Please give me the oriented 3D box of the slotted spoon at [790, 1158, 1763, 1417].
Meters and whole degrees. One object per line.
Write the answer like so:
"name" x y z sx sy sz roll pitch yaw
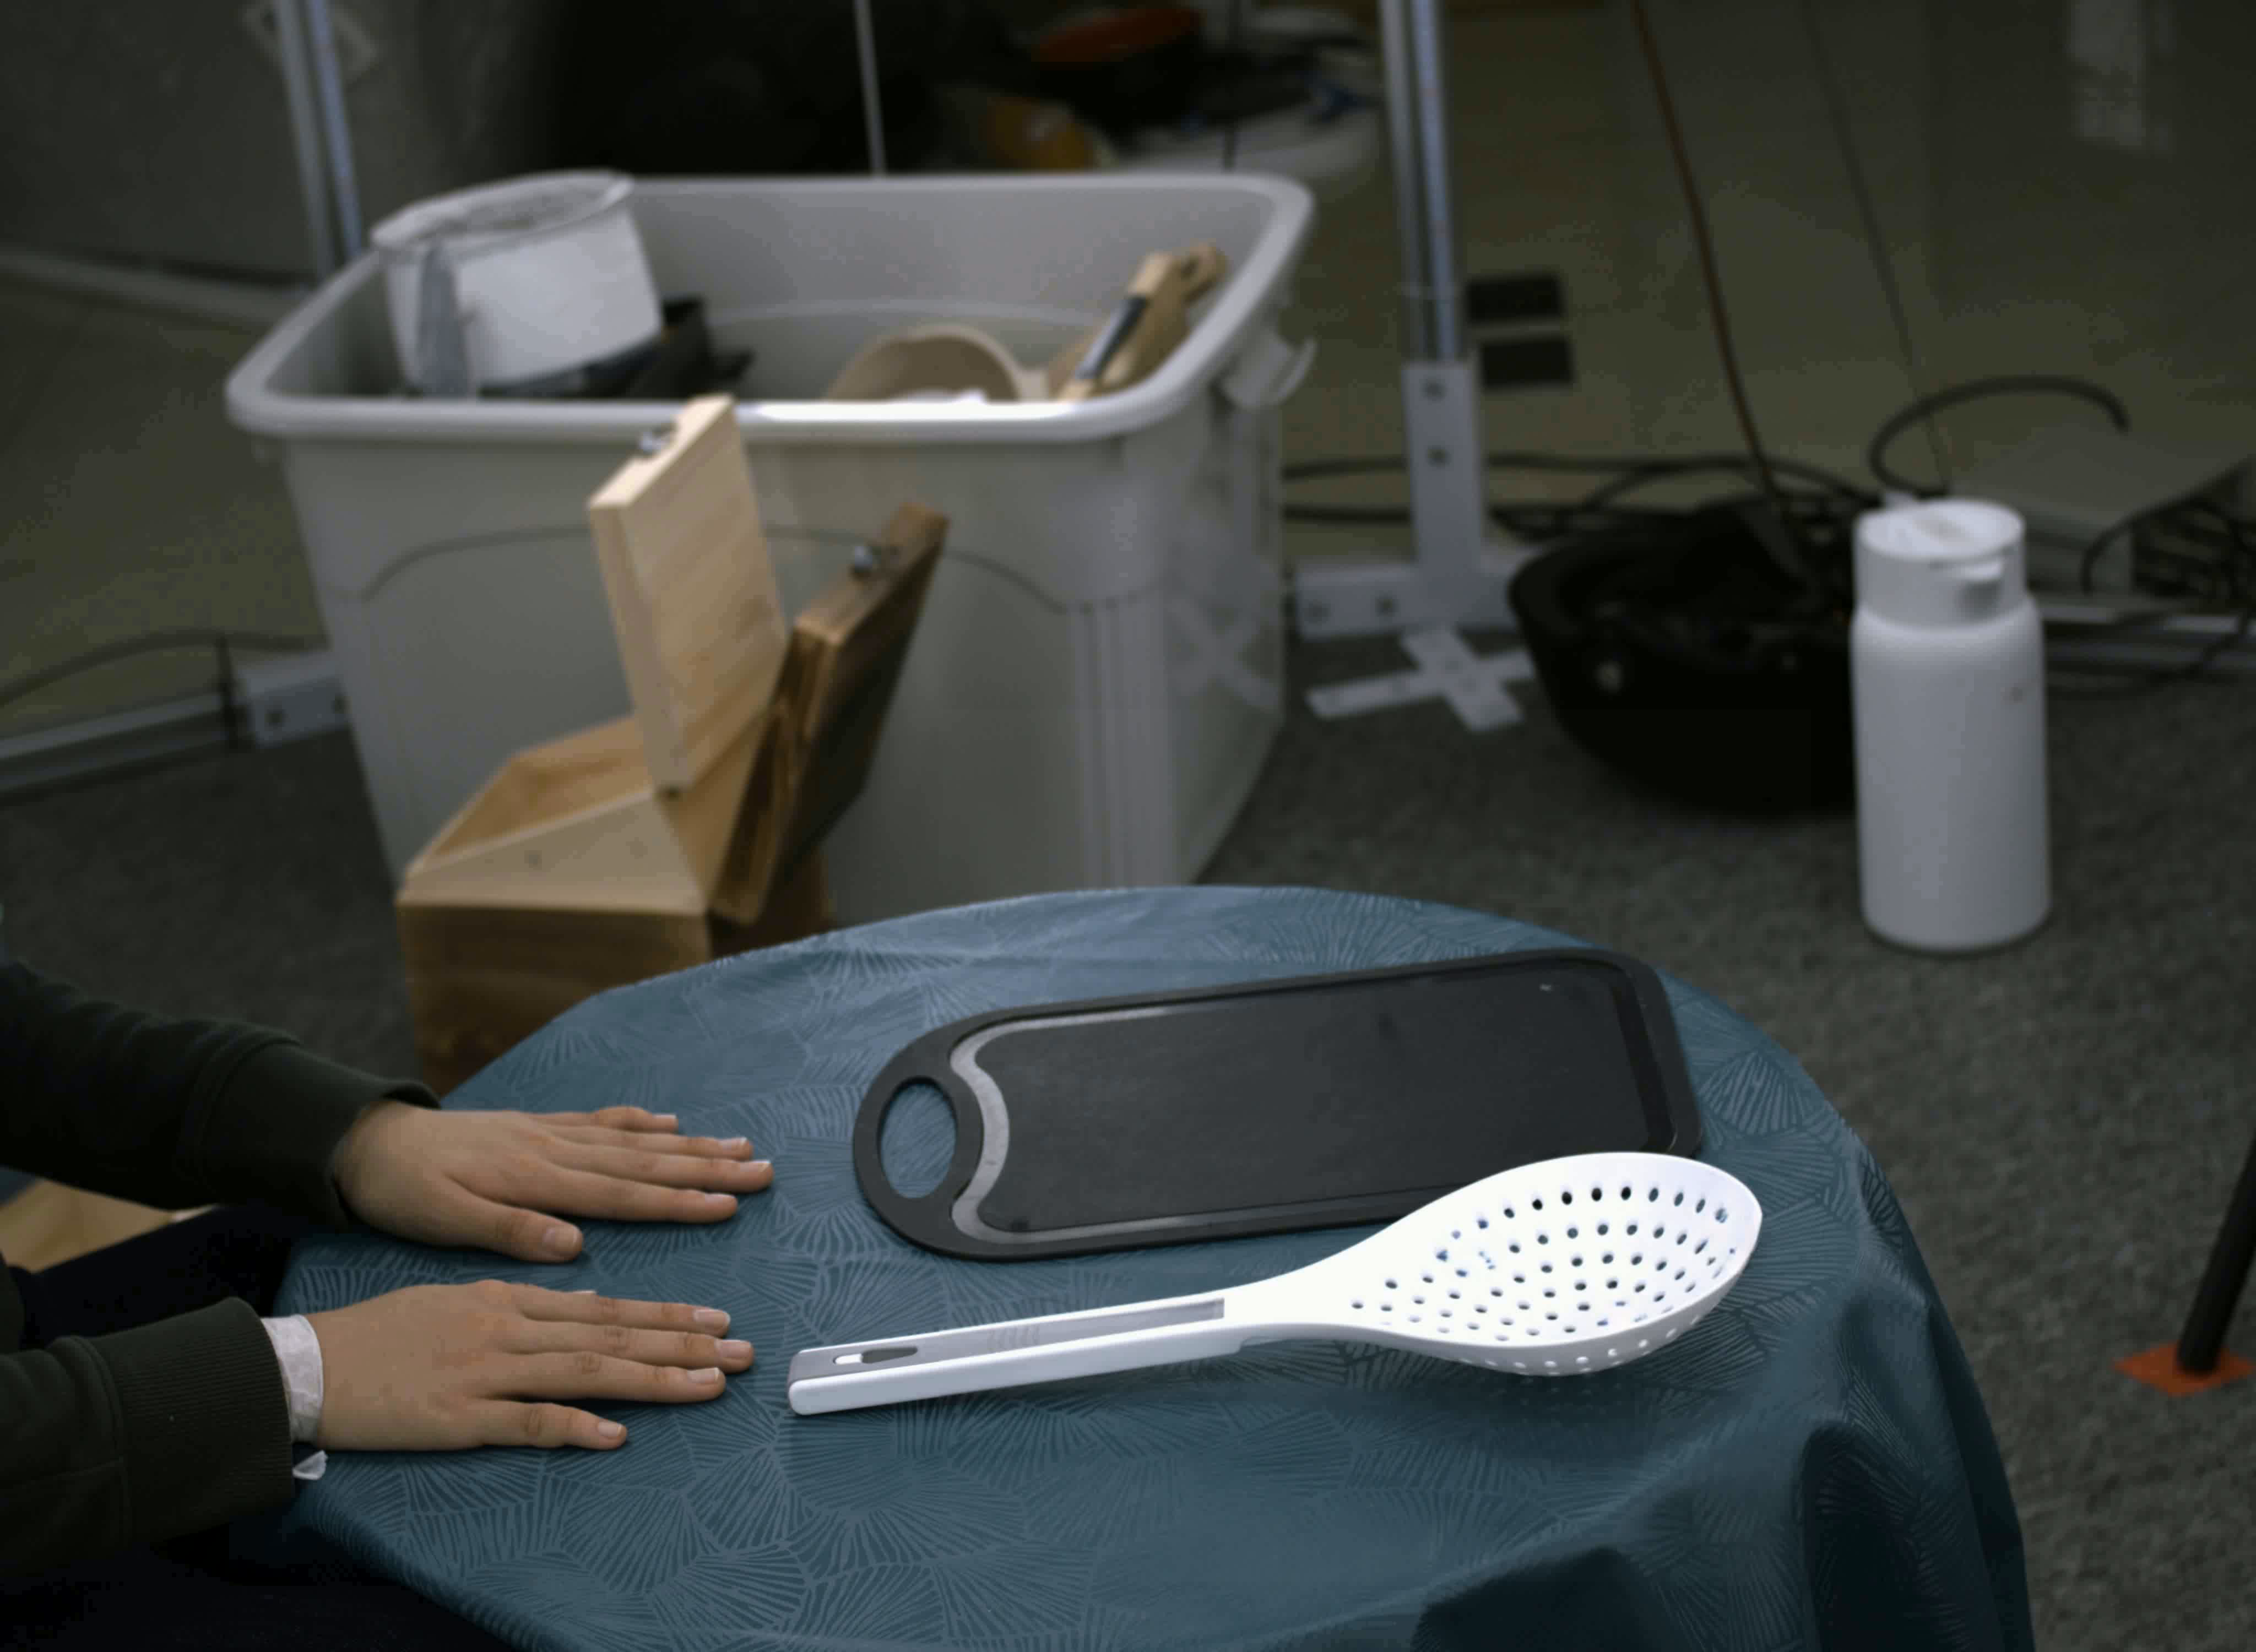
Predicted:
"slotted spoon" 0.051 0.173 2.013 0.349 0.046 0.134 -5 23 5

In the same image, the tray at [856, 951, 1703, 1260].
"tray" 0.055 0.106 2.202 0.325 0.010 0.208 -6 24 1
